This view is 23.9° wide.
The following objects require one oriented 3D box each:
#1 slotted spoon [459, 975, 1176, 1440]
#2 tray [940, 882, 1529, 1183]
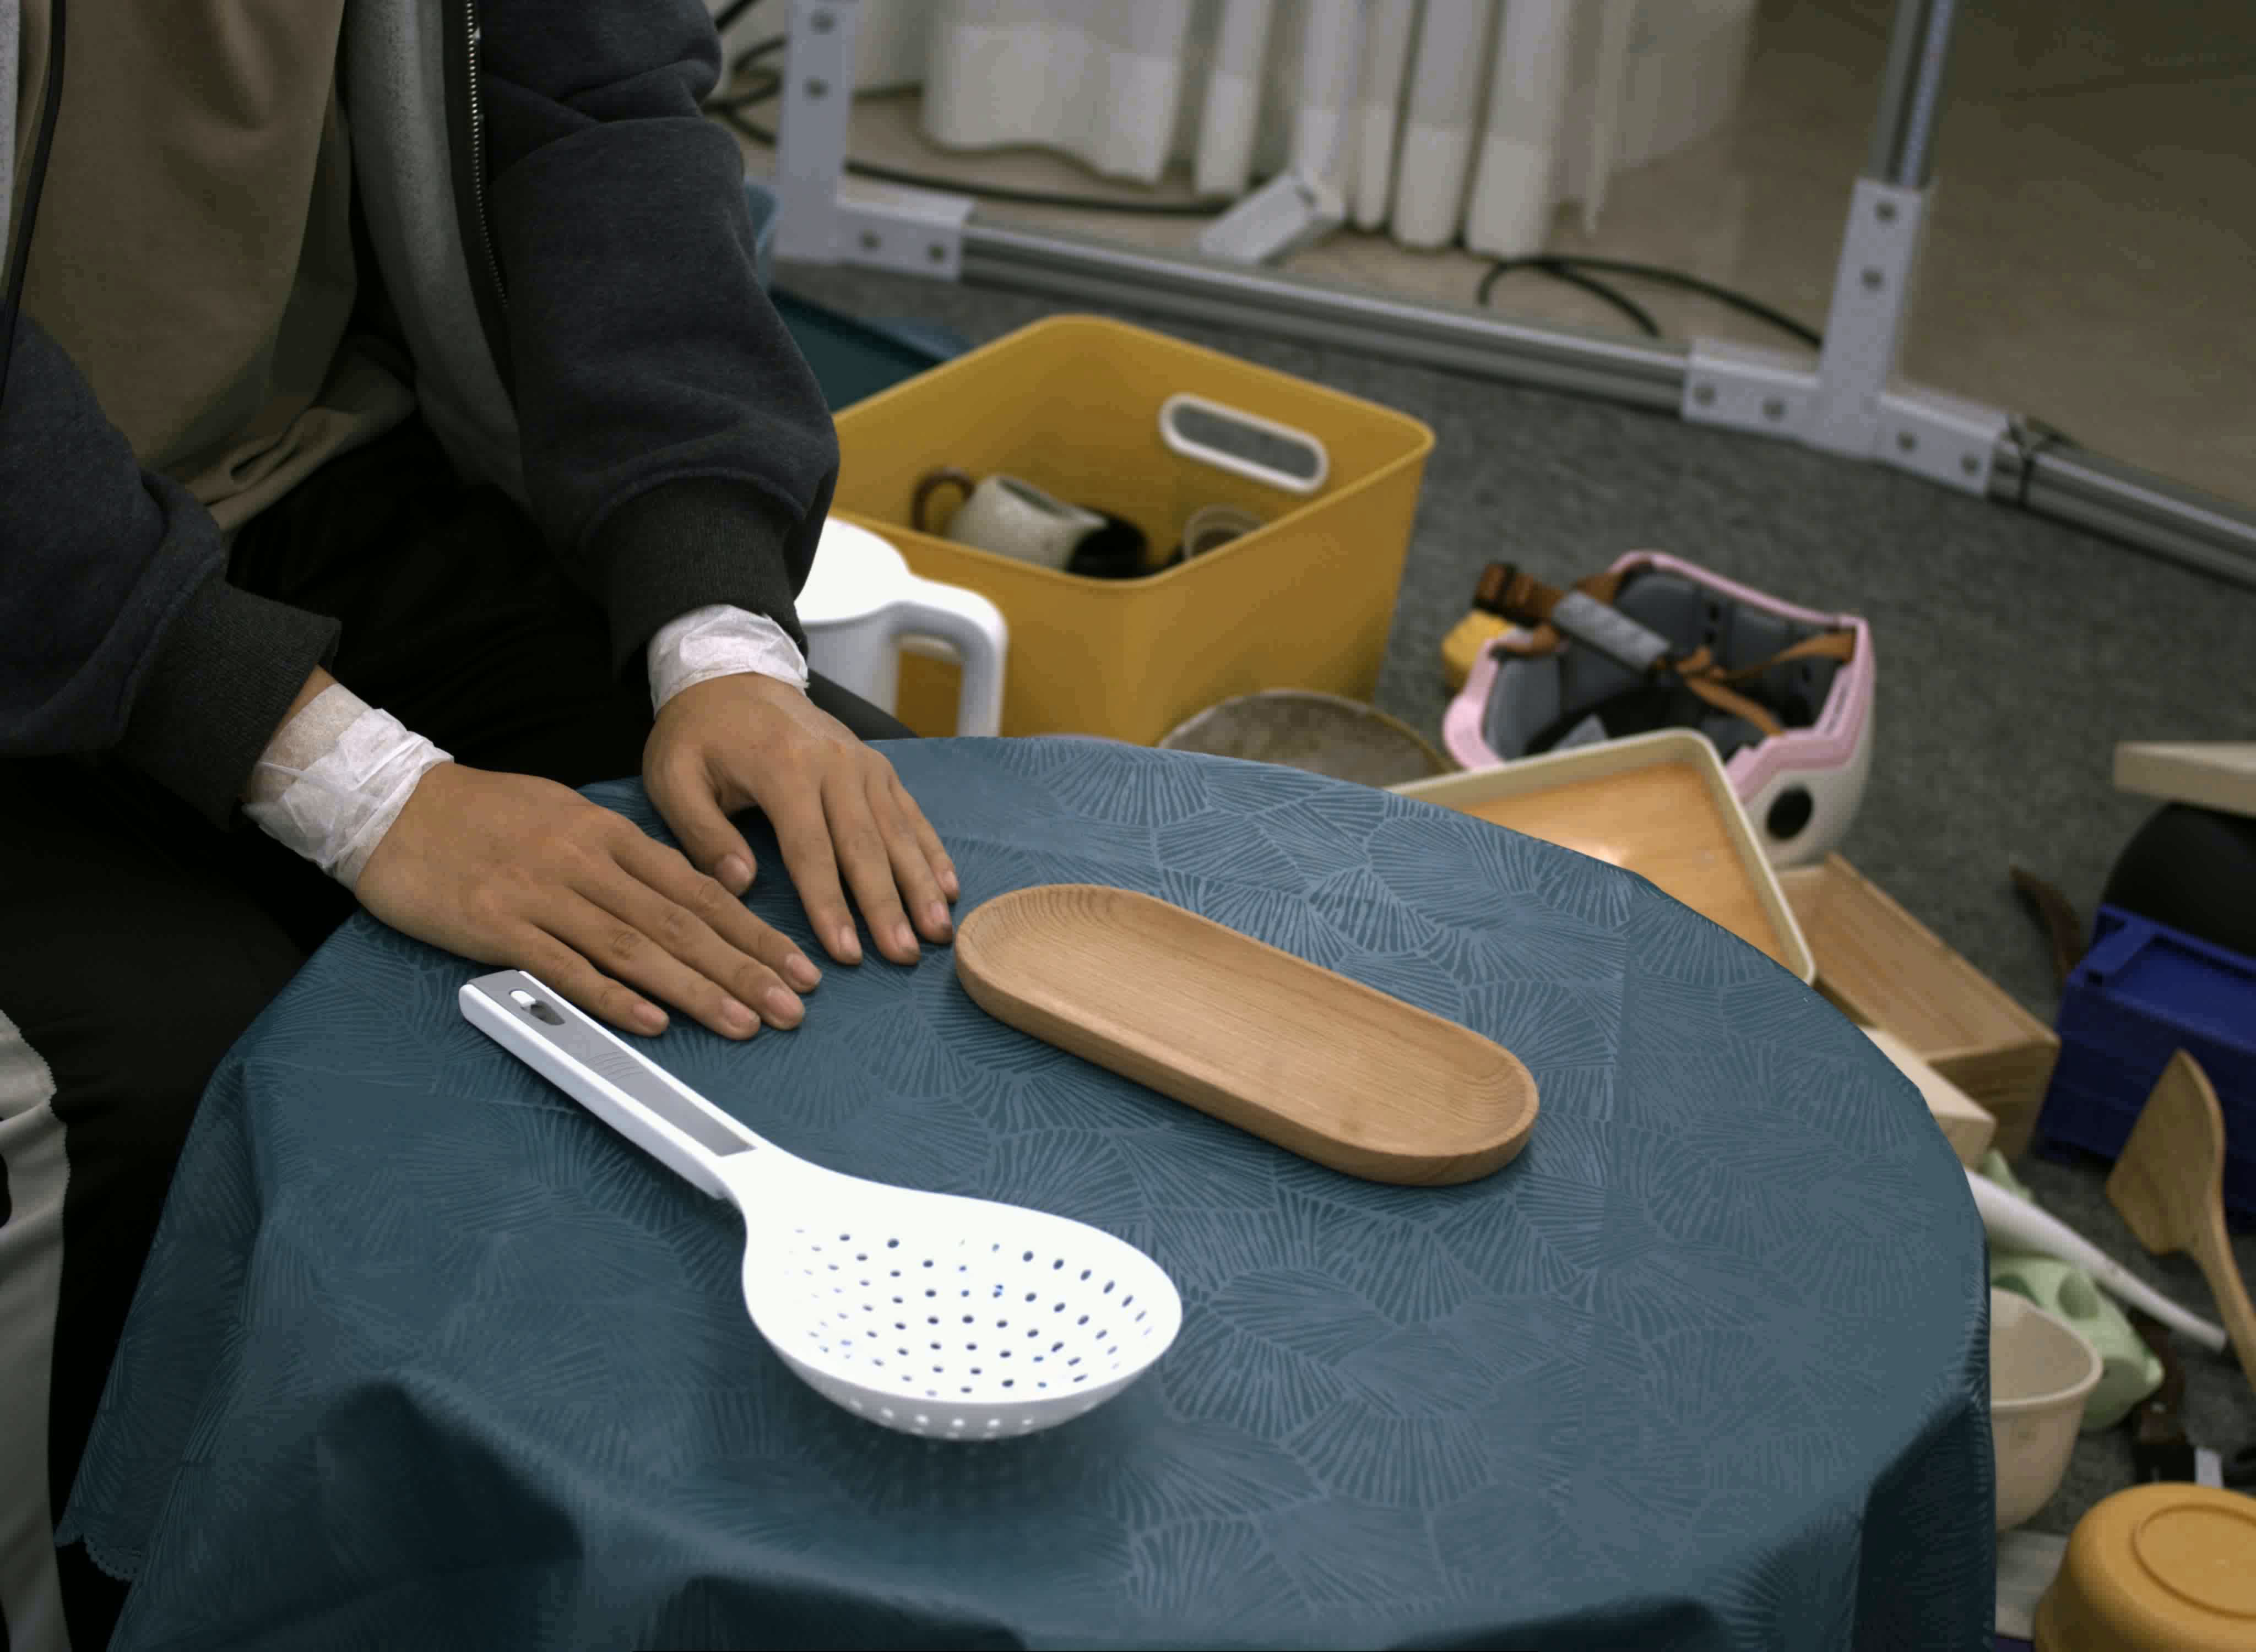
[{"bbox_3d":[-0.119,0.118,1.735,0.135,0.045,0.353,-12,31,-36],"label":"slotted spoon"},{"bbox_3d":[0.036,0.072,1.892,0.232,0.020,0.101,21,29,28],"label":"tray"}]
